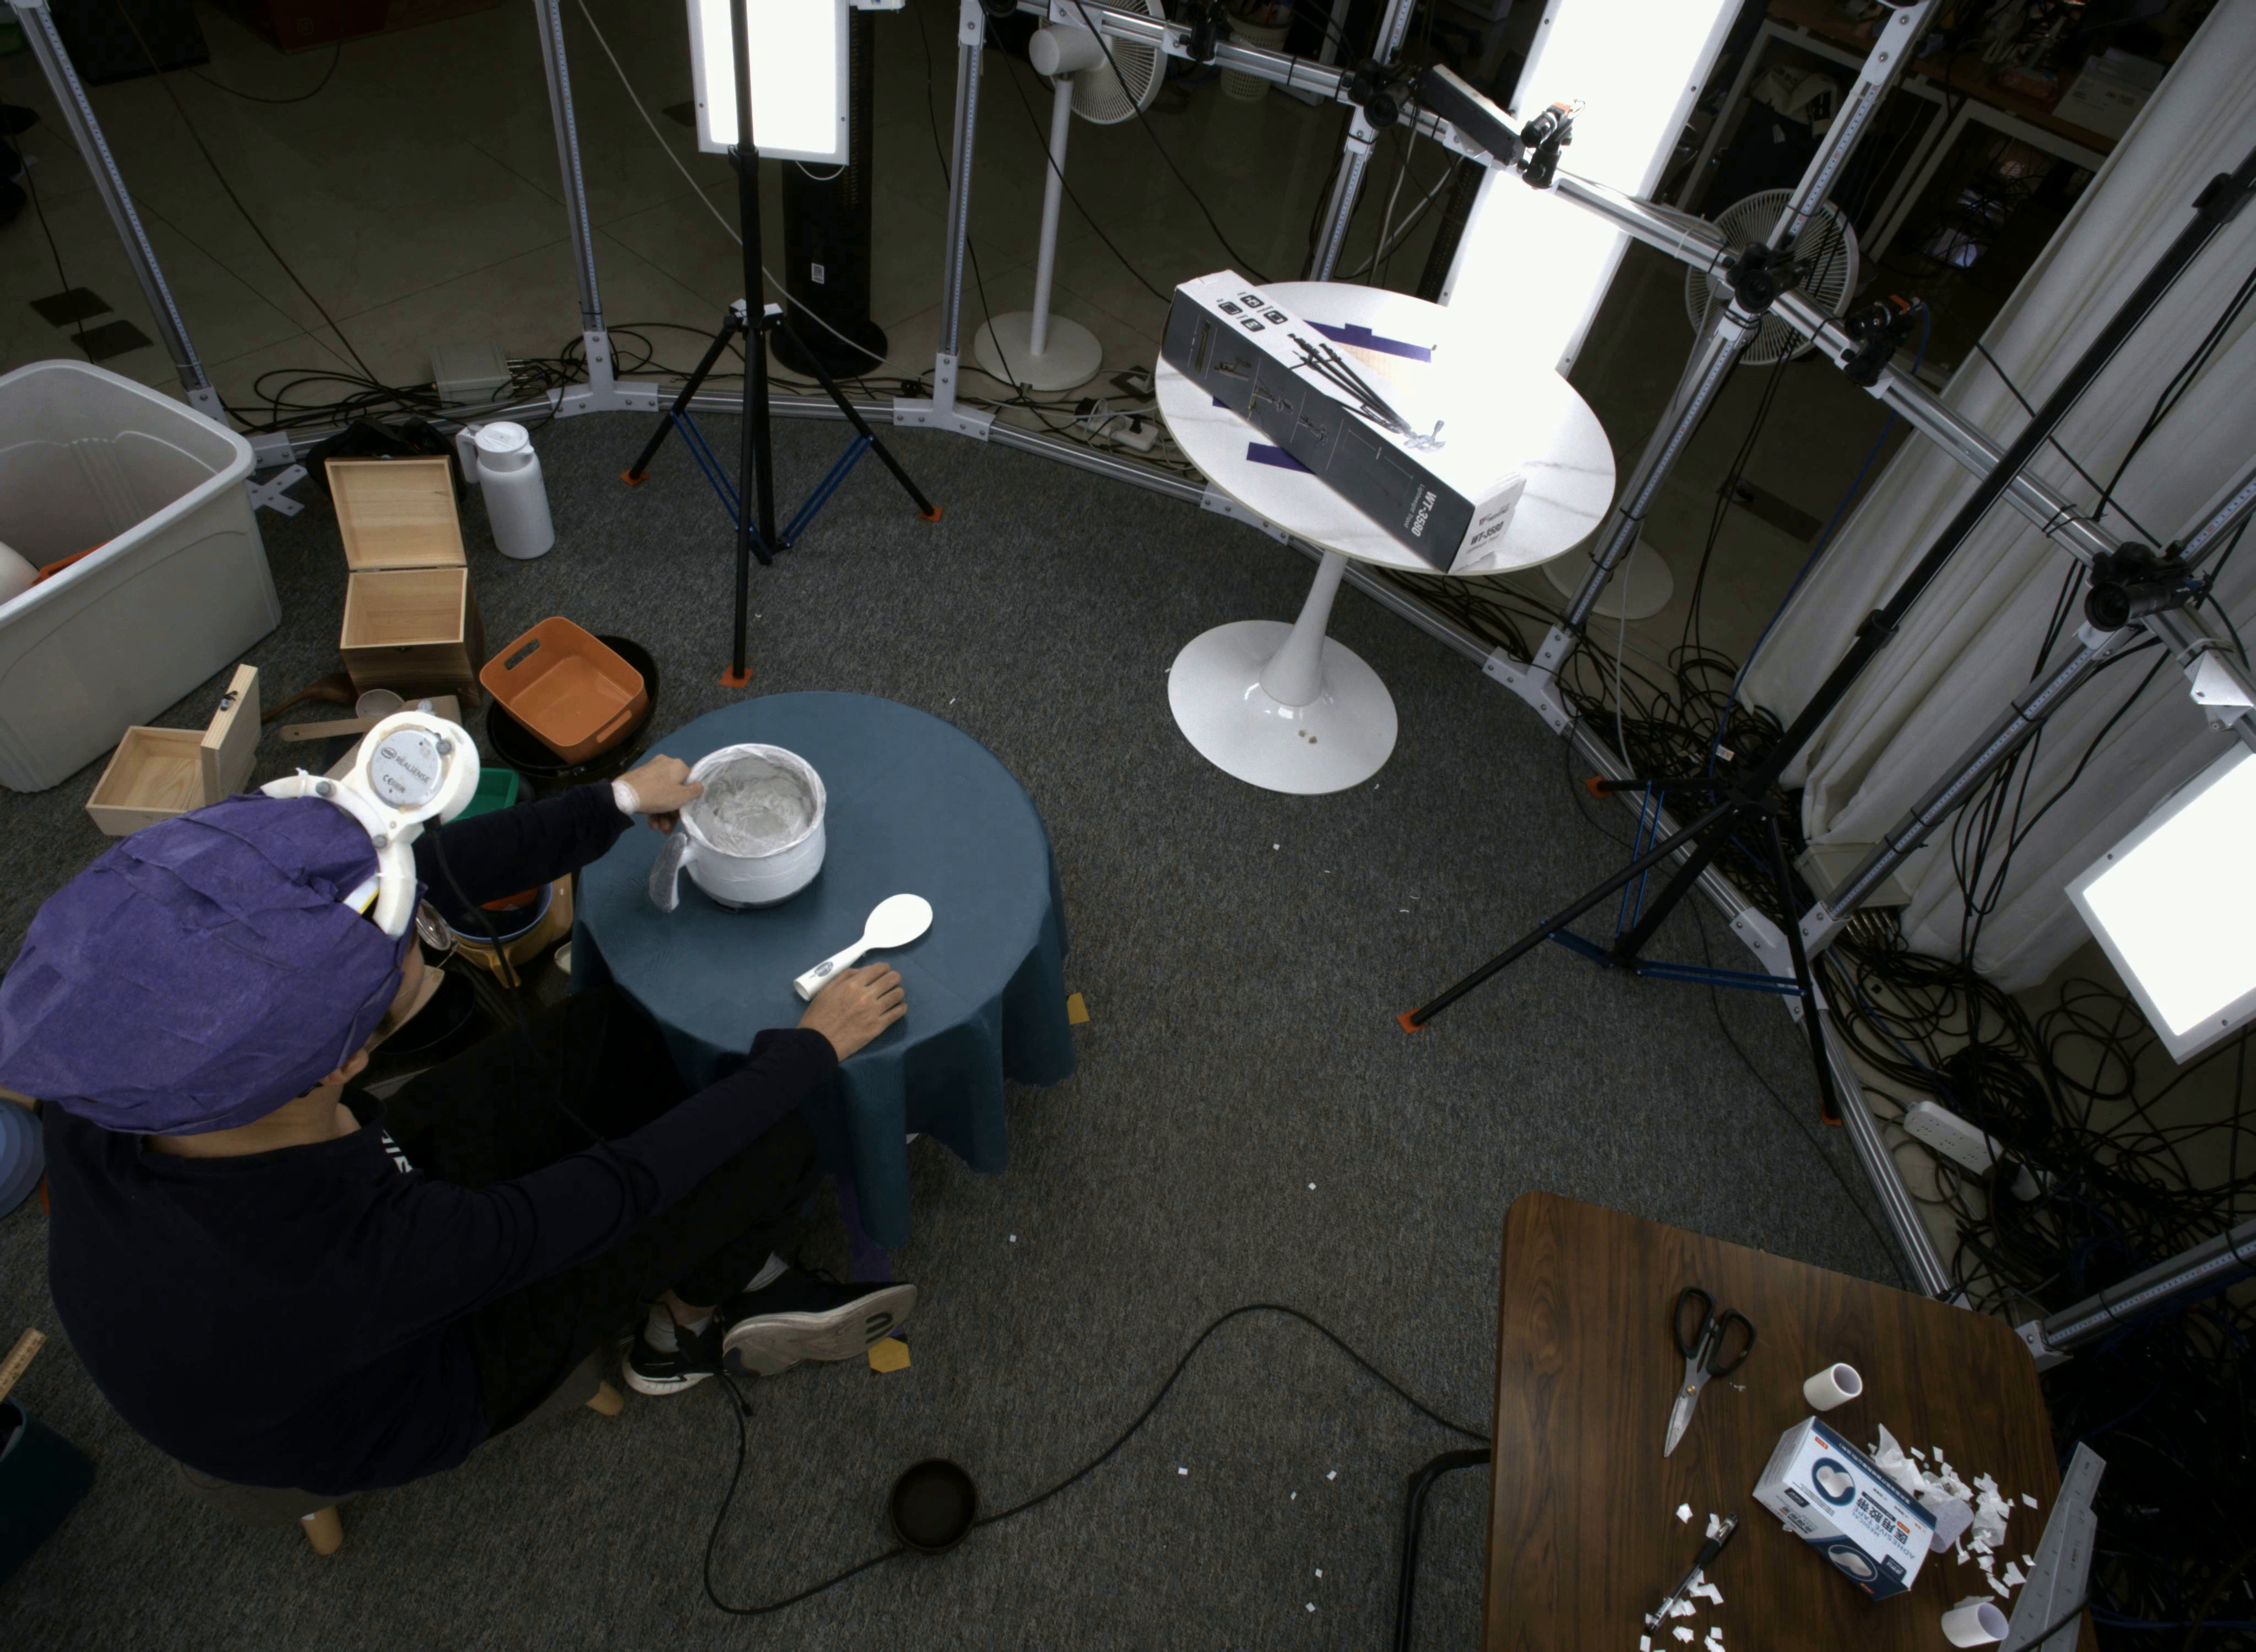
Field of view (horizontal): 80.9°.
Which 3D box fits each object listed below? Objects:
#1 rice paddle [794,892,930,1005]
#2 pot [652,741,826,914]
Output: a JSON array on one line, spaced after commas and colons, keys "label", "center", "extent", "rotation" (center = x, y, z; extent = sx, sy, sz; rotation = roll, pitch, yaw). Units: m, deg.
[{"label": "rice paddle", "center": [-0.331, 0.147, 1.632], "extent": [0.067, 0.030, 0.205], "rotation": [41, 56, 14]}, {"label": "pot", "center": [-0.491, 0.015, 1.615], "extent": [0.174, 0.139, 0.234], "rotation": [40, 53, 20]}]
